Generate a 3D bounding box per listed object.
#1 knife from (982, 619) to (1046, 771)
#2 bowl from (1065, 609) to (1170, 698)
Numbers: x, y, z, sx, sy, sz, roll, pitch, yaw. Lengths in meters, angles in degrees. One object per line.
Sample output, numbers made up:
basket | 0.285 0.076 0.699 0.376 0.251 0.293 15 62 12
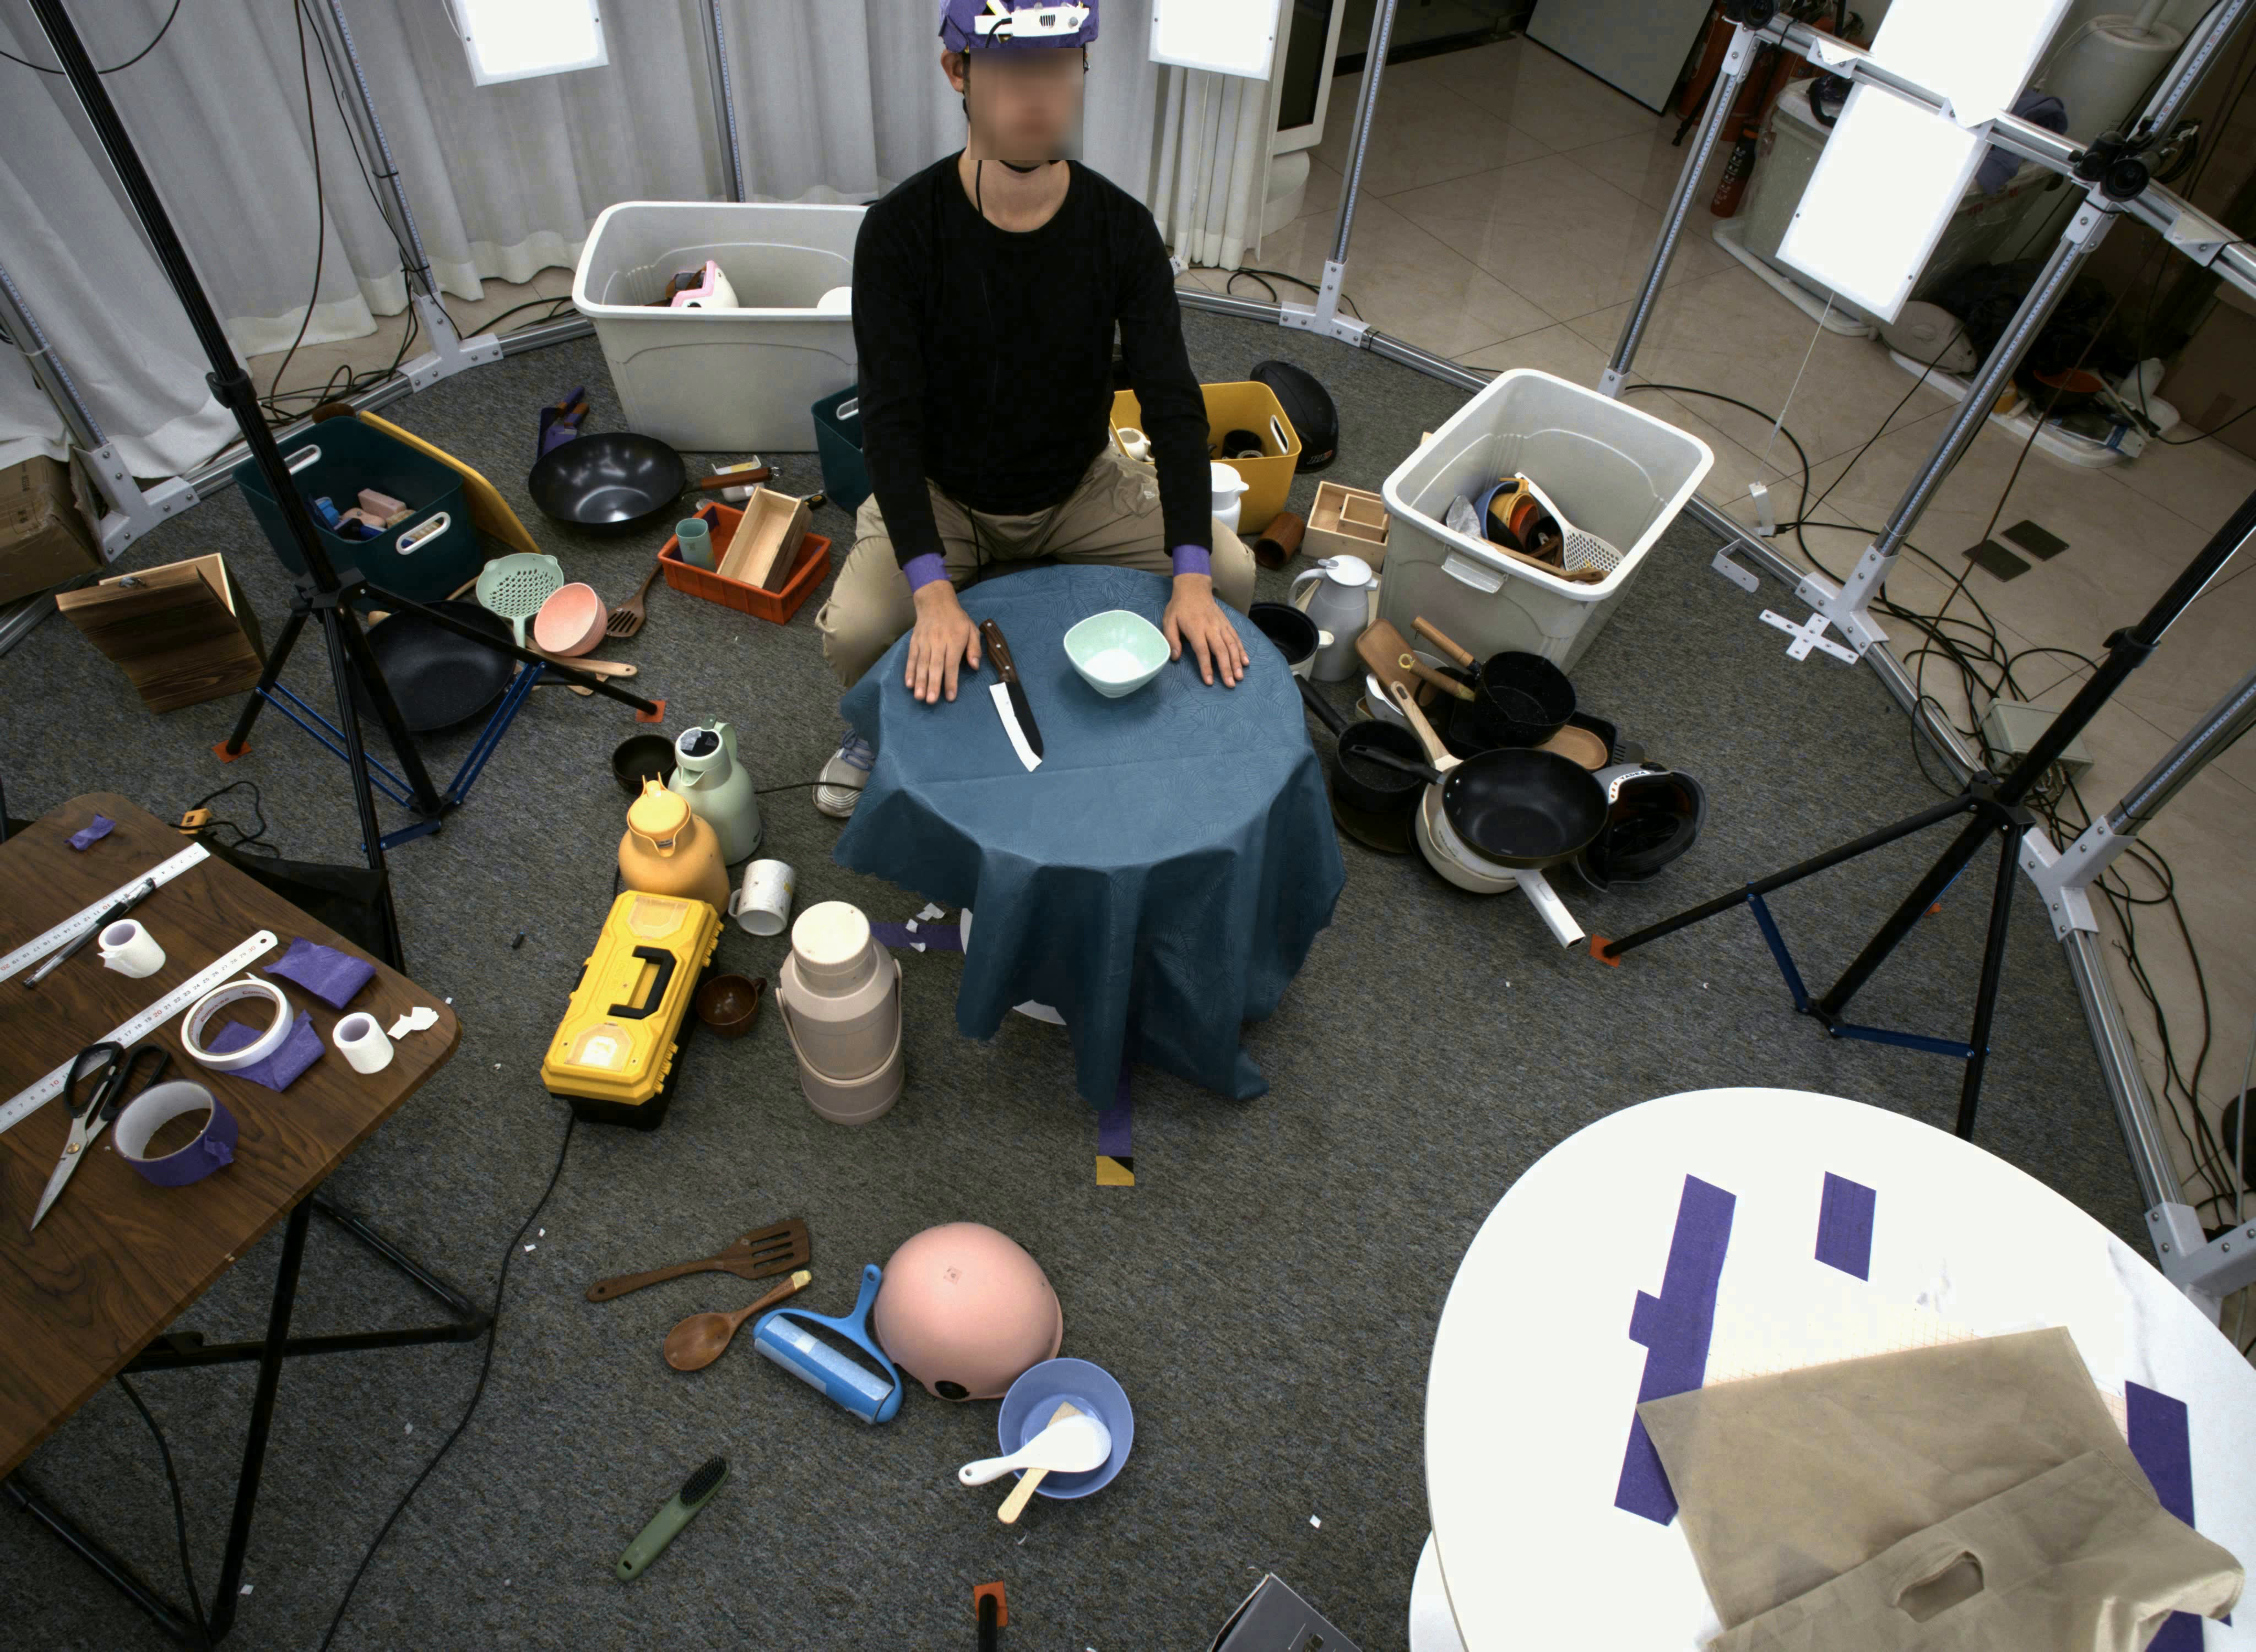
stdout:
knife | -0.164 -0.187 1.812 0.050 0.019 0.296 -13 54 -8
bowl | -0.017 -0.238 1.839 0.151 0.057 0.155 2 51 -3
